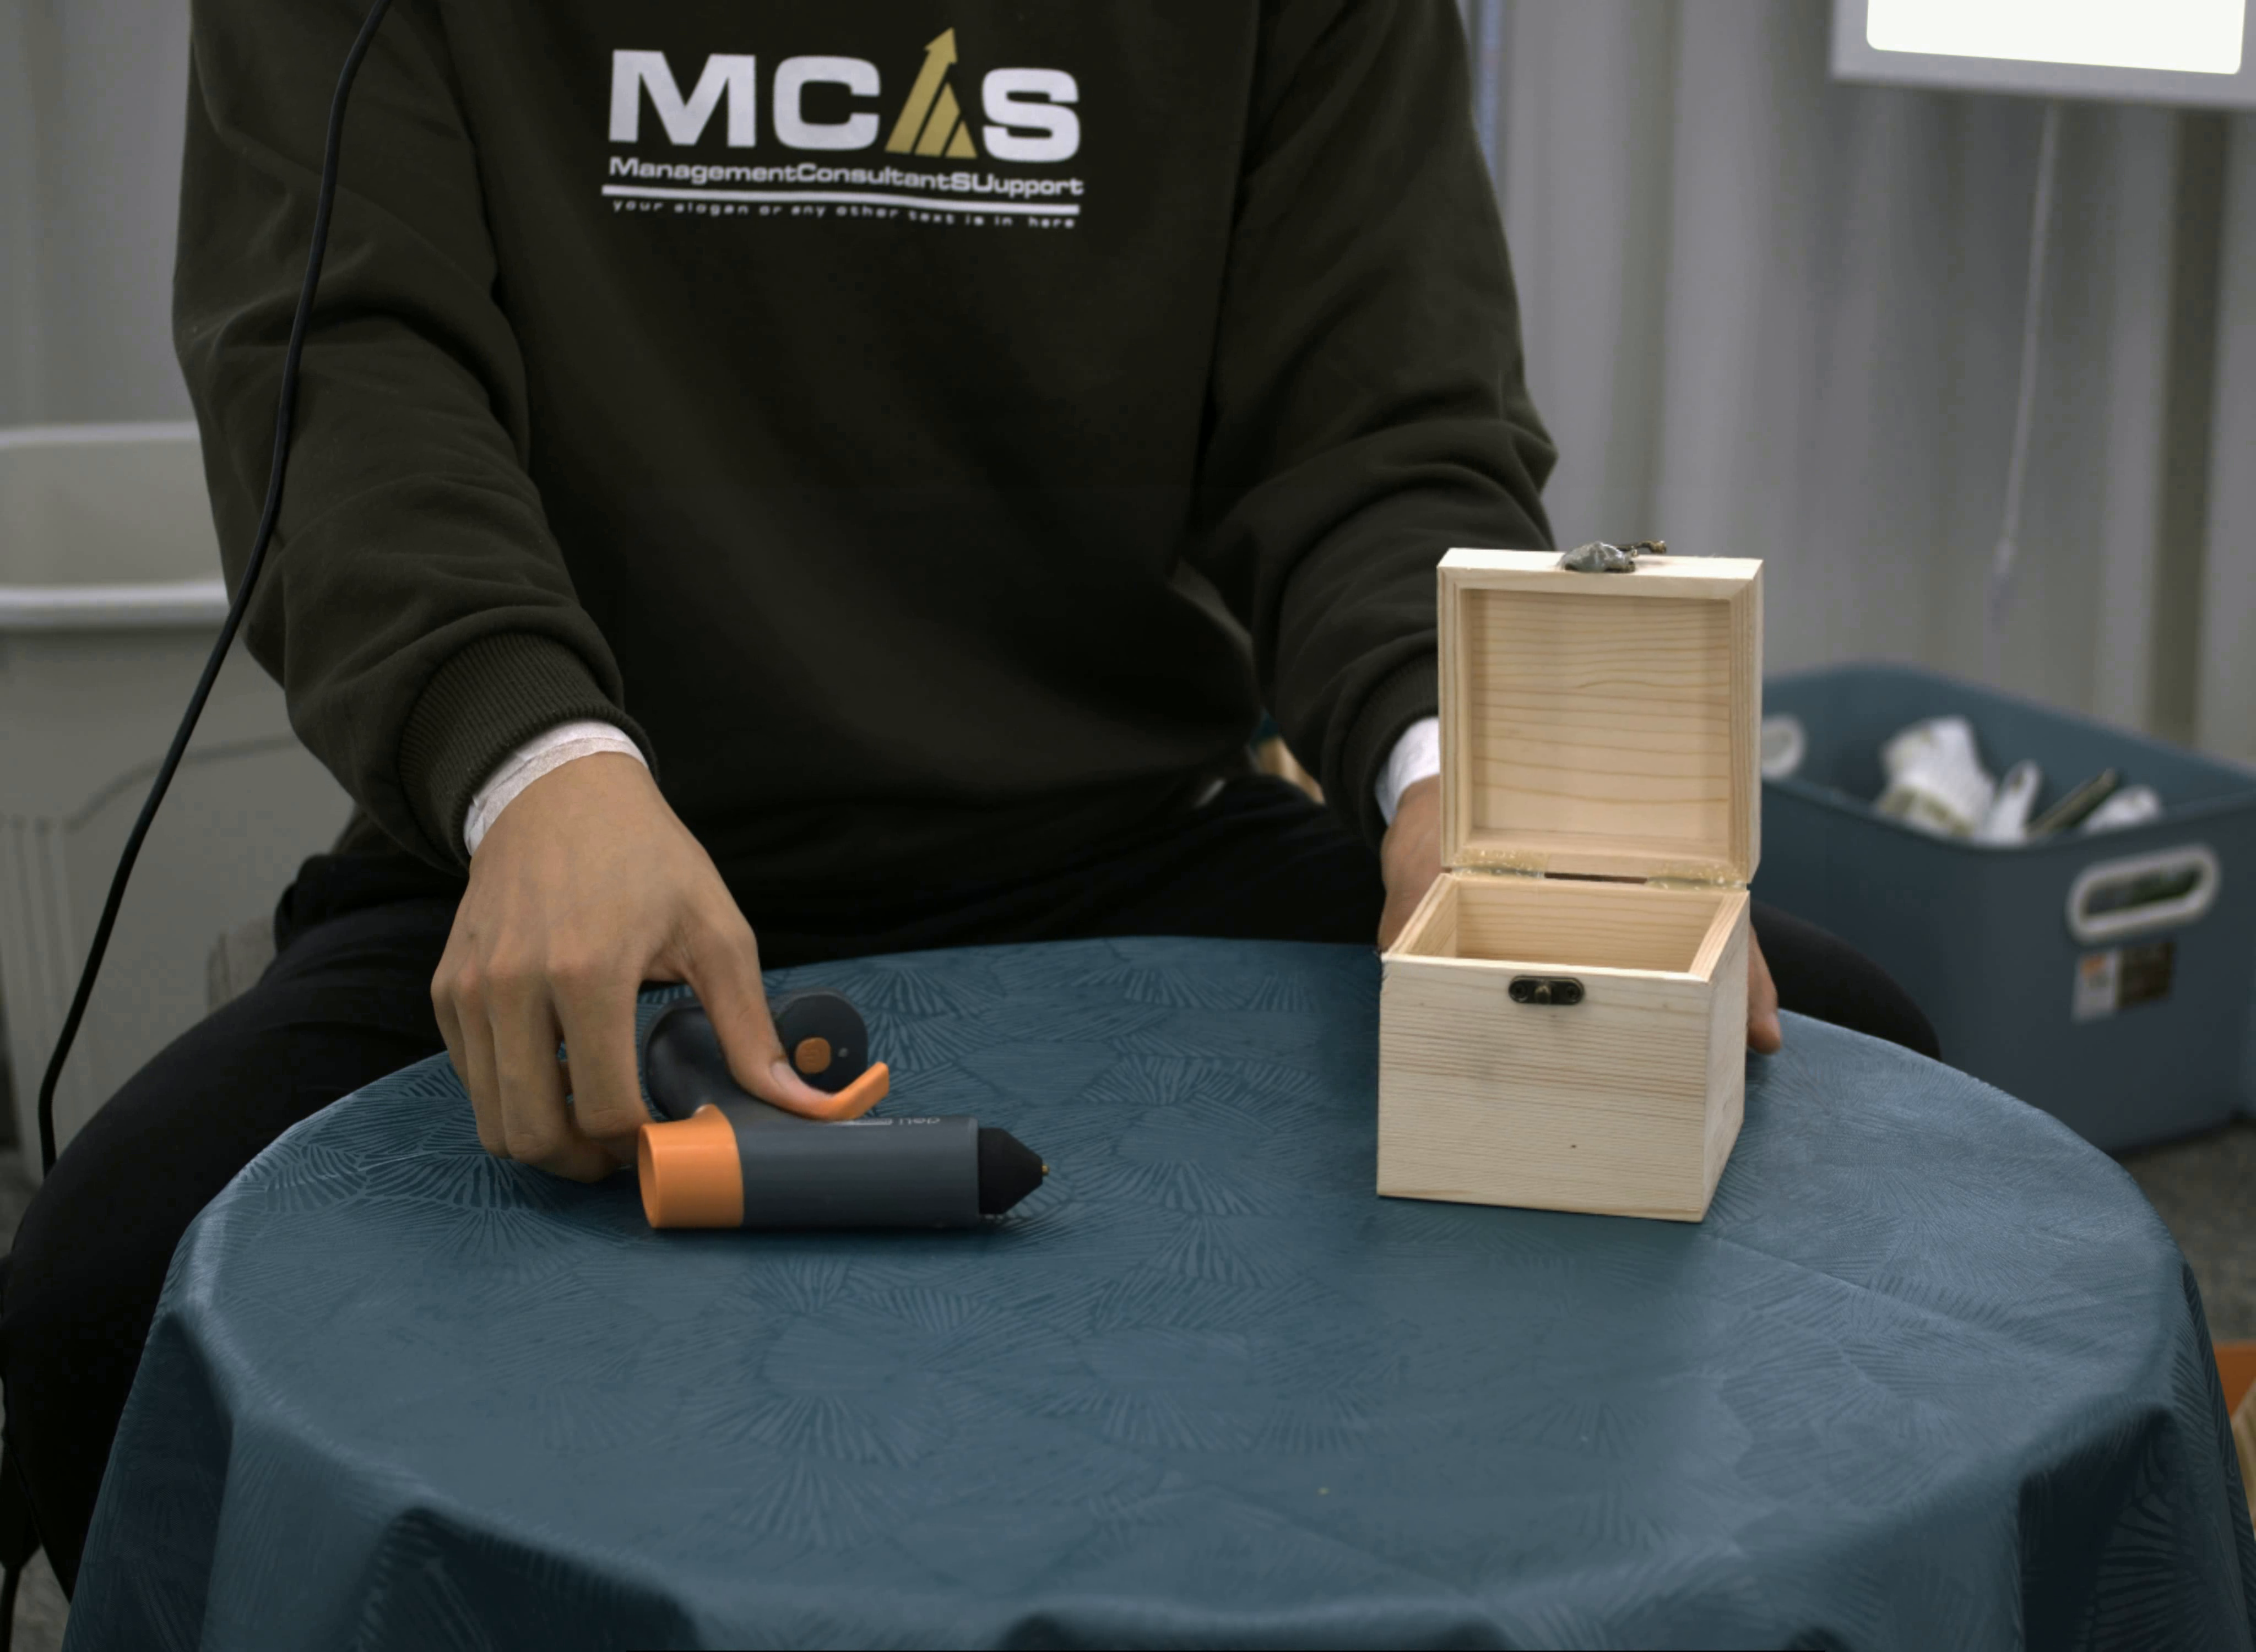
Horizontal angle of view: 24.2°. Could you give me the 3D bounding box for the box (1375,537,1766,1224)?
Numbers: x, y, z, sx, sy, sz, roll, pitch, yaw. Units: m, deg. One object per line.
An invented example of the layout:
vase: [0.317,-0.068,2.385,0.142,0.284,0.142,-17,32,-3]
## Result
box: [0.138,0.013,1.641,0.102,0.186,0.133,4,18,11]

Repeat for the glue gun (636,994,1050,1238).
glue gun: [-0.097,0.094,1.633,0.118,0.041,0.138,-2,18,-18]
